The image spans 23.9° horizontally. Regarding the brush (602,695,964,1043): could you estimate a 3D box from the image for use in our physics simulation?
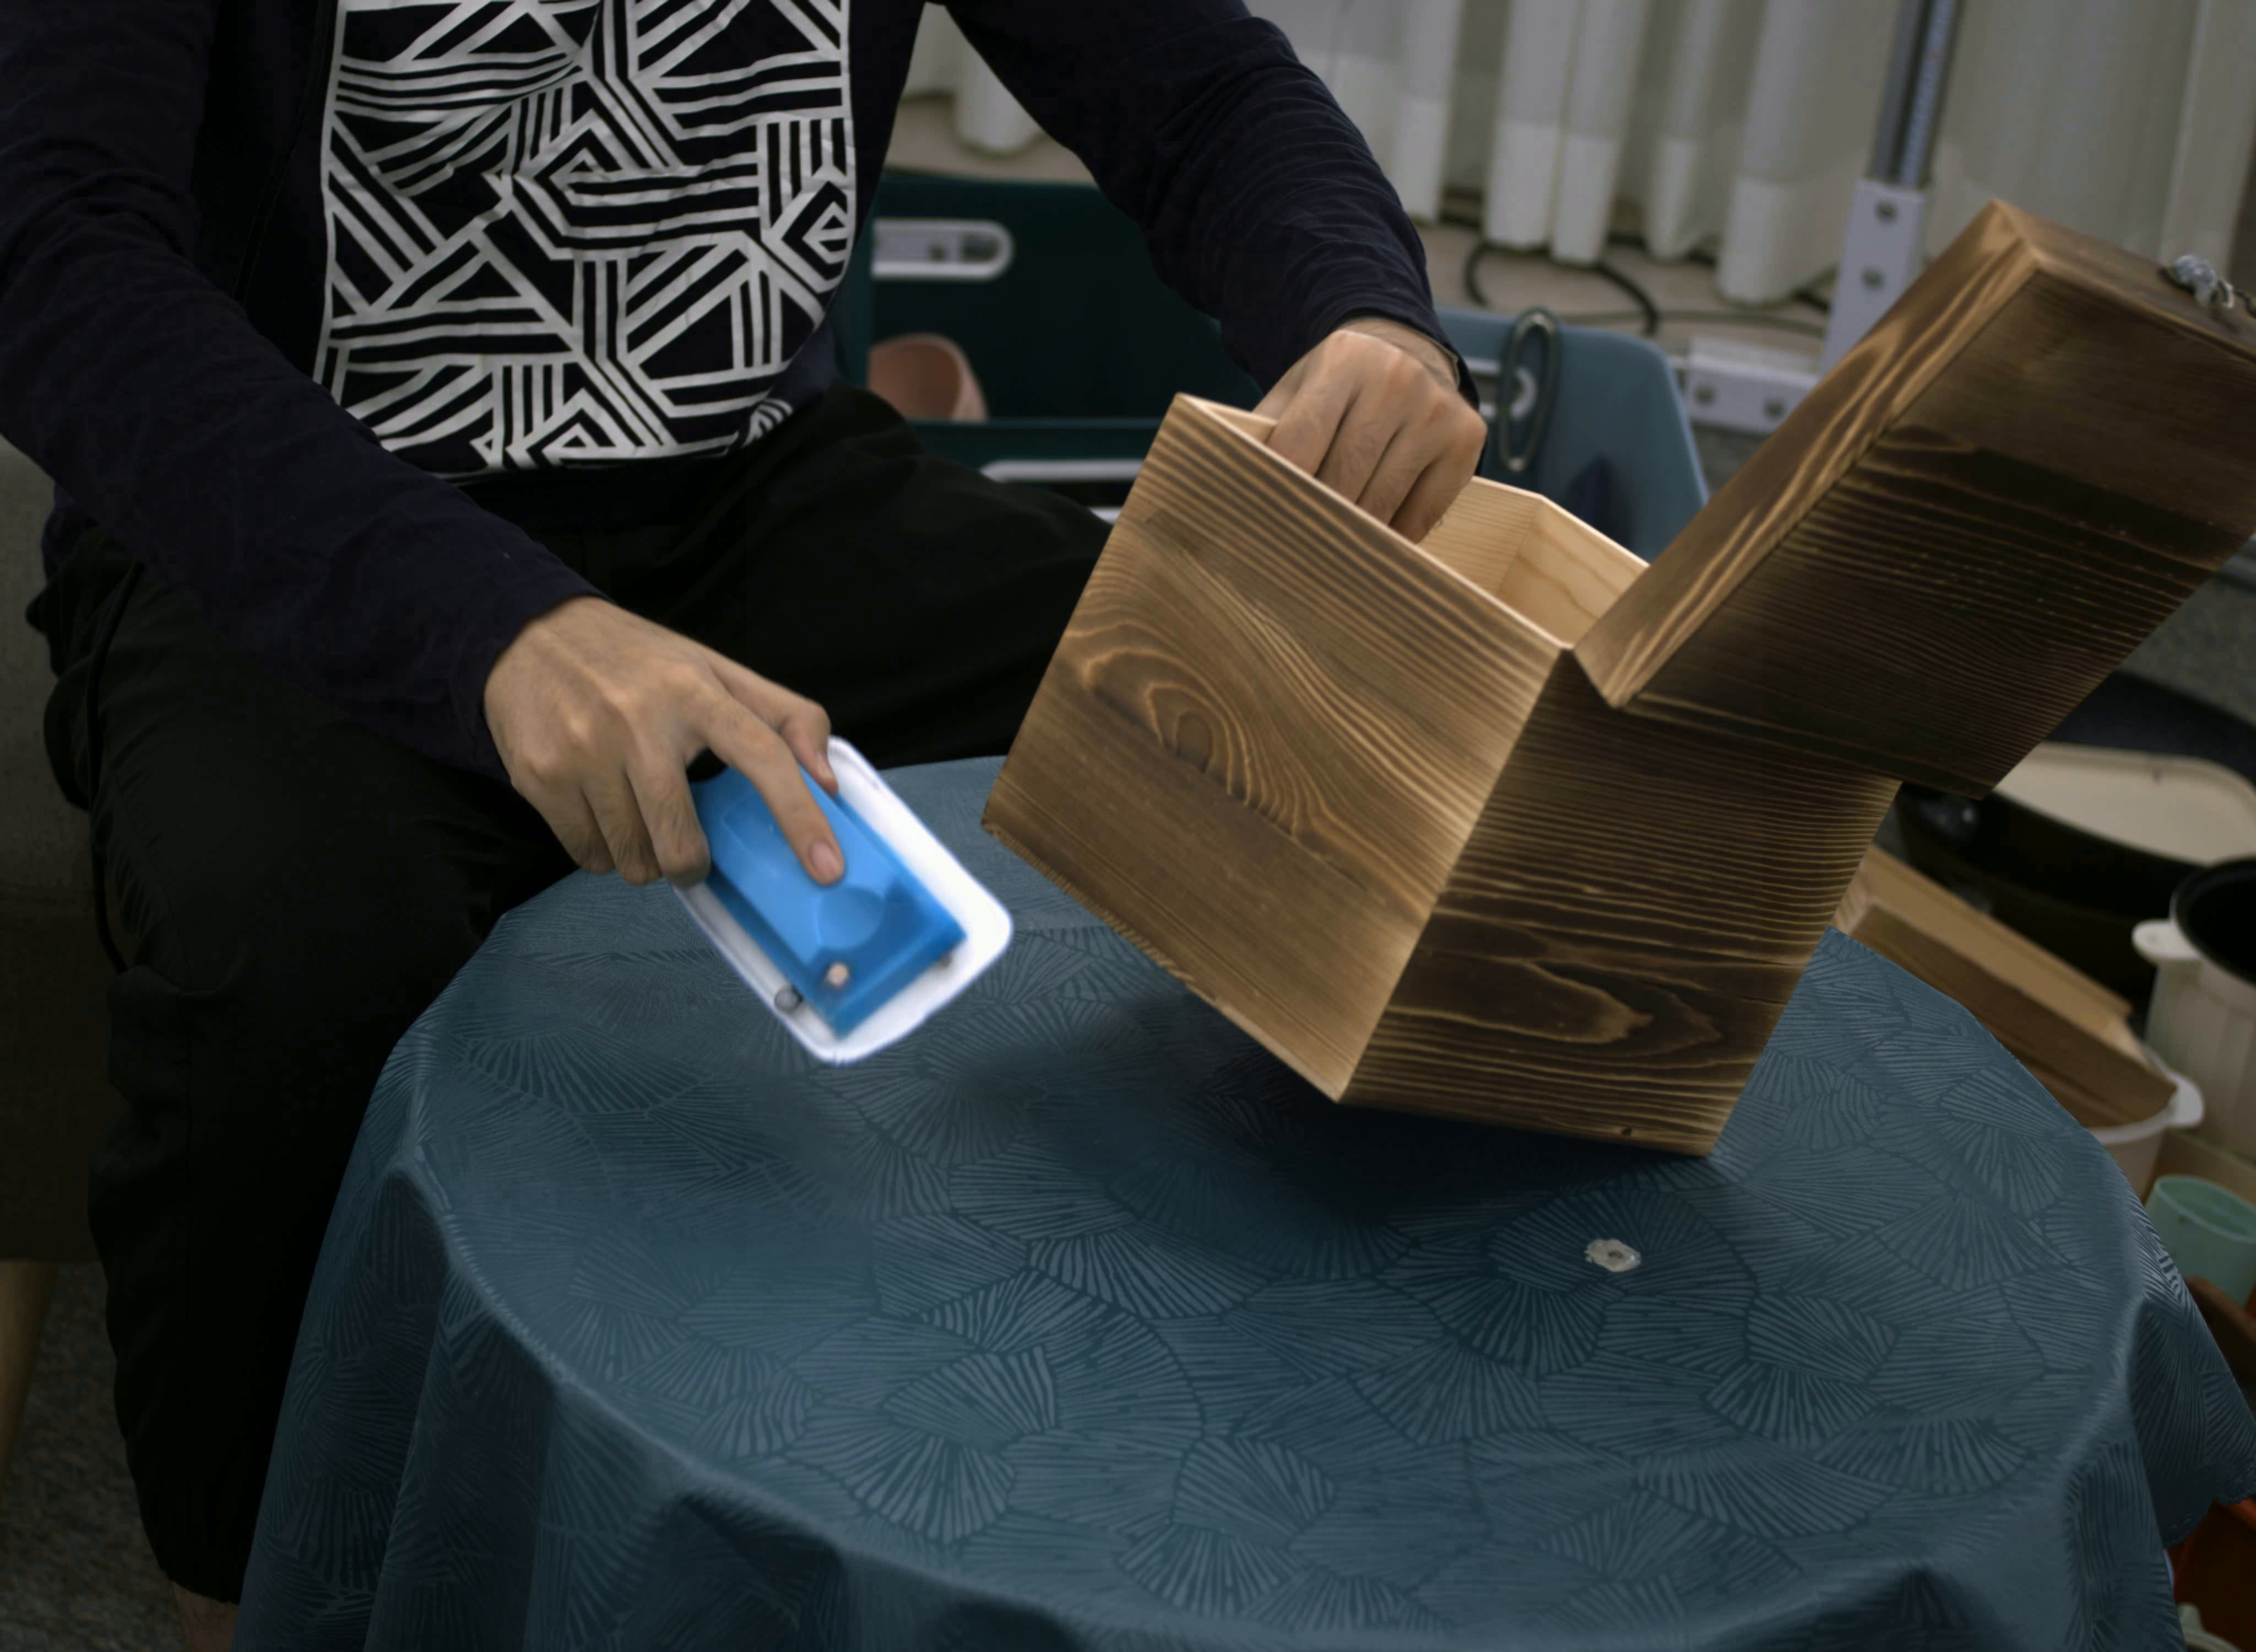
[{"bbox_3d":[-0.121,0.008,1.785,0.084,0.055,0.145,-37,47,-9],"label":"brush"}]

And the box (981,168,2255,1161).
[{"bbox_3d":[0.183,-0.078,1.791,0.207,0.375,0.325,13,18,-46],"label":"box"}]
